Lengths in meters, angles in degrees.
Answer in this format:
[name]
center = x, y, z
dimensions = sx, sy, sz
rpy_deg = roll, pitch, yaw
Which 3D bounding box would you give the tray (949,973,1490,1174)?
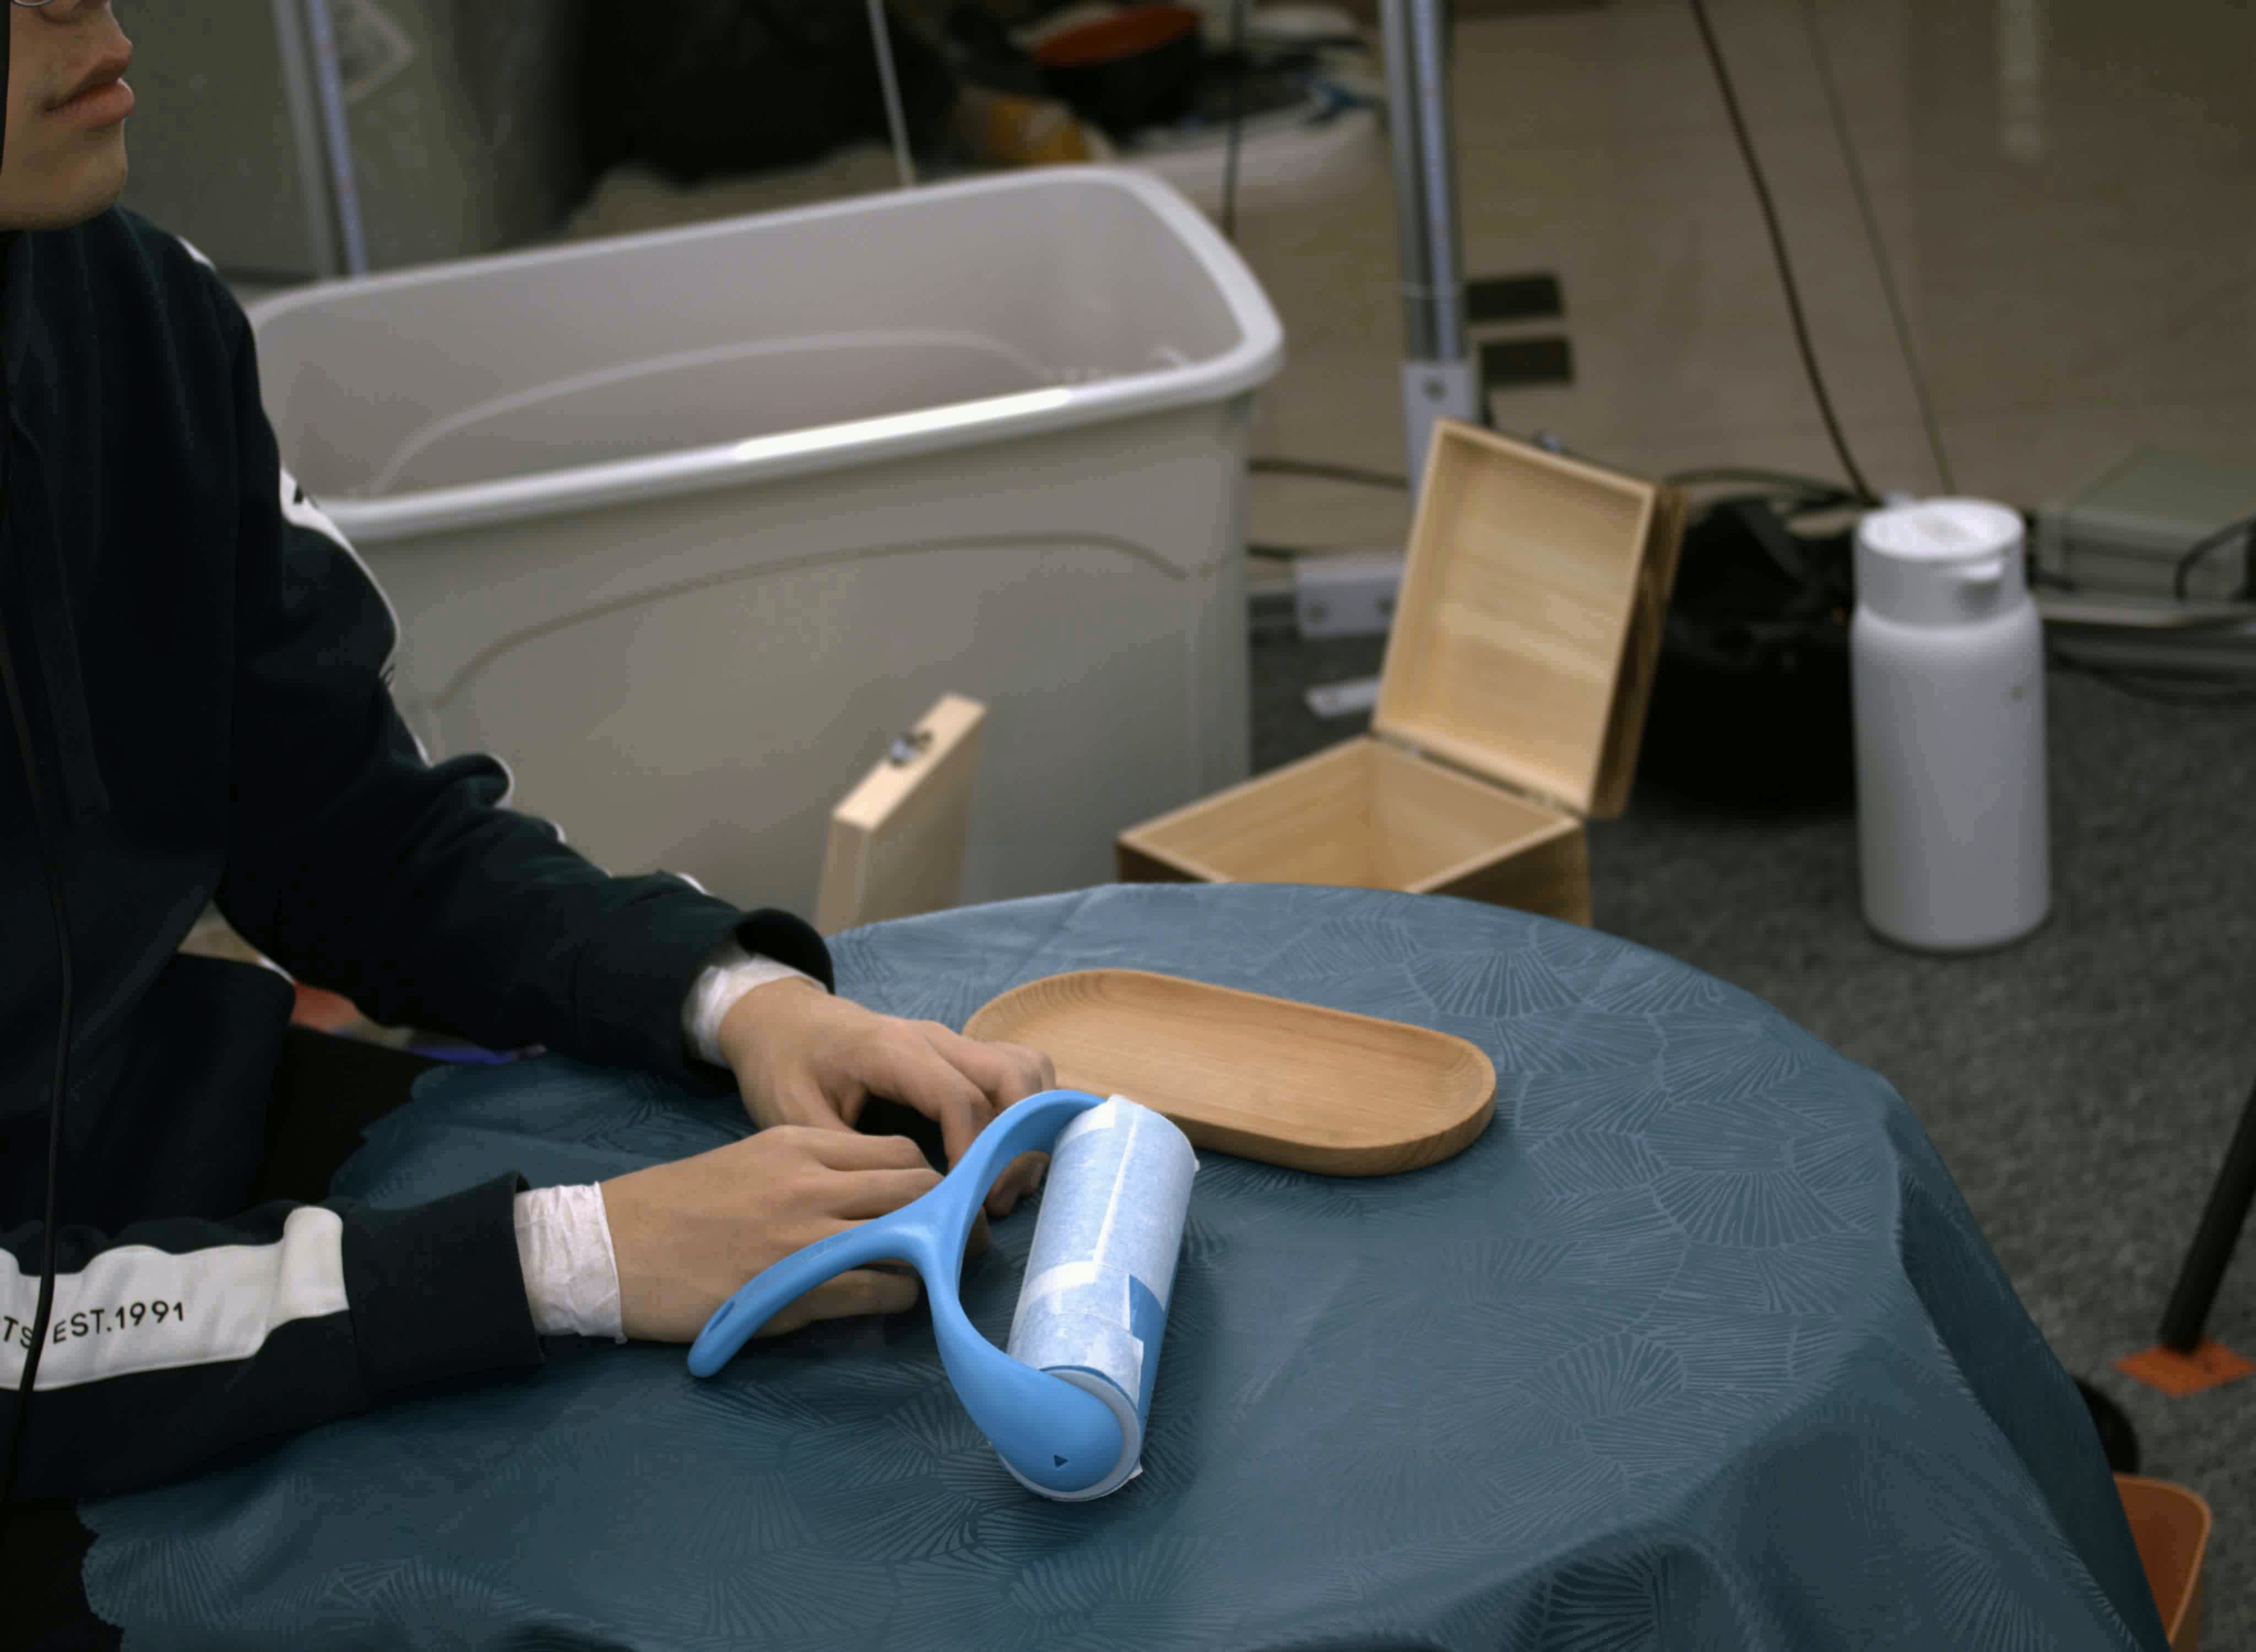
[tray]
center = 0.034, 0.096, 2.208
dimensions = 0.230, 0.020, 0.100
rpy_deg = 8, 28, 33

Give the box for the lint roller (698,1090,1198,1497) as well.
[lint roller]
center = -0.069, 0.169, 2.029
dimensions = 0.180, 0.069, 0.225
rpy_deg = -3, 27, 5
